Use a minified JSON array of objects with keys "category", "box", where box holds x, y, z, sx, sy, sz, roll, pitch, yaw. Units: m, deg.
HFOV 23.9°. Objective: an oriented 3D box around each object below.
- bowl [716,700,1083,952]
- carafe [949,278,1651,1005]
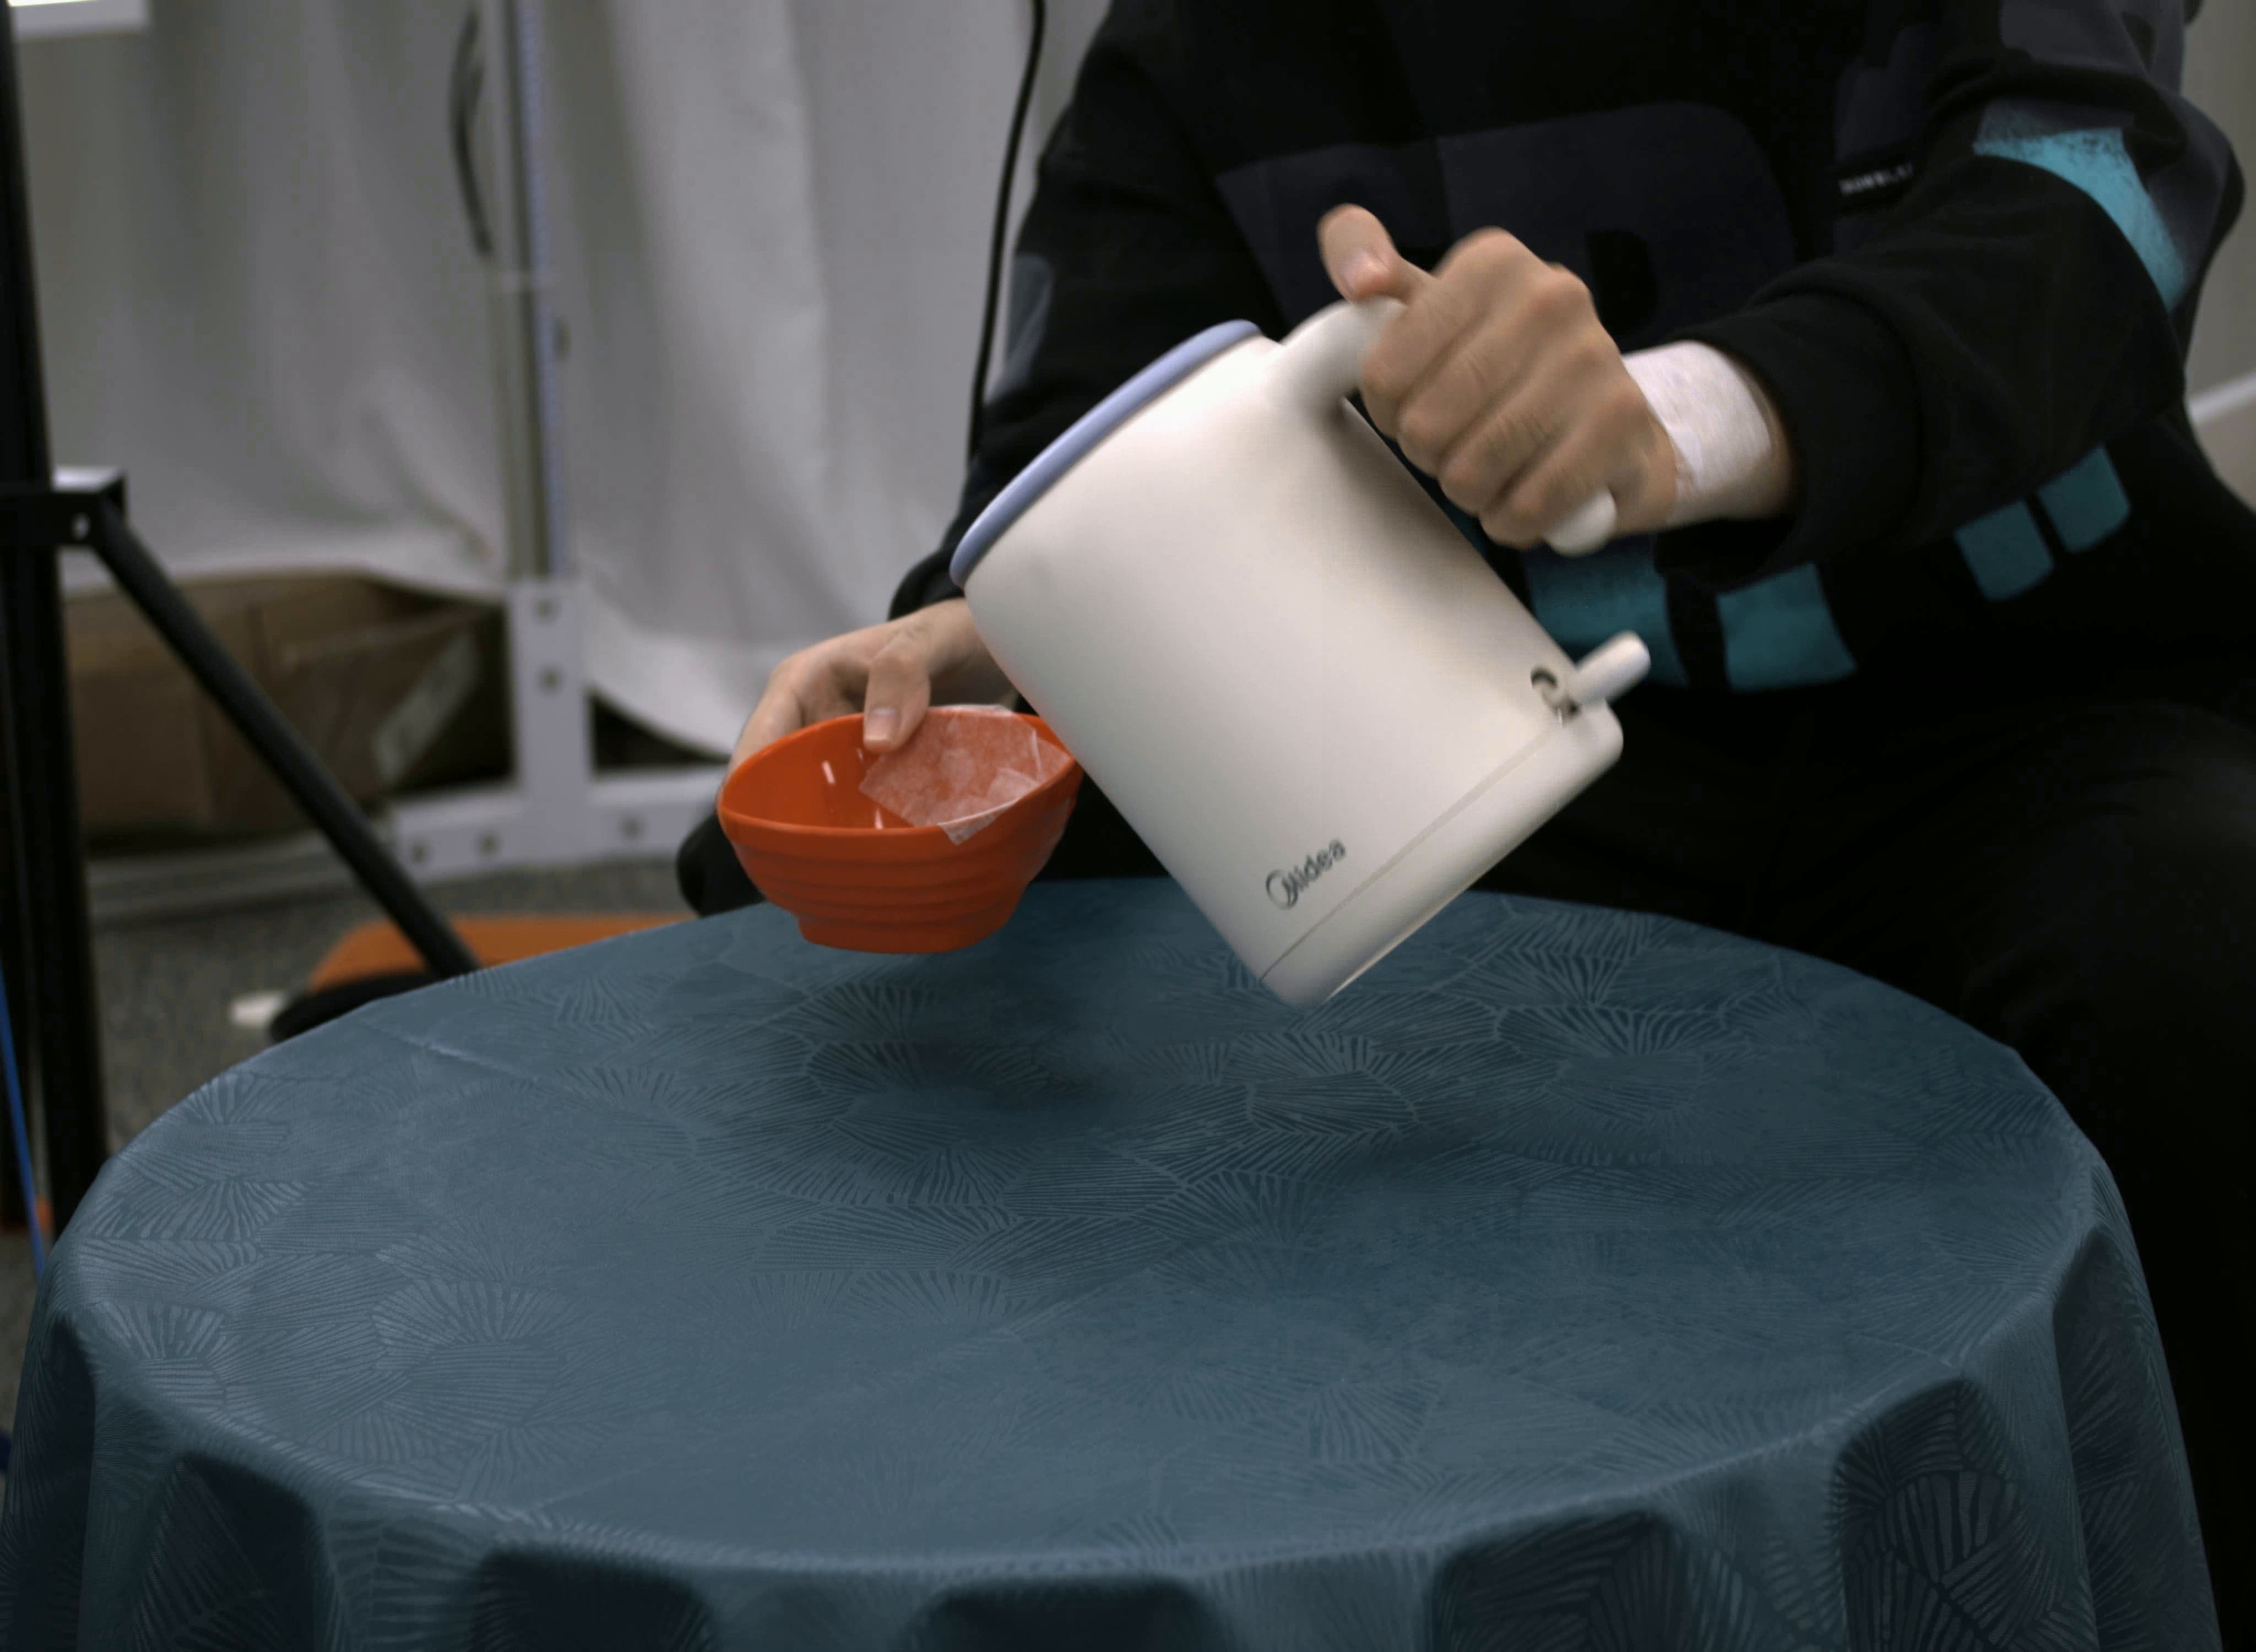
[{"category":"bowl","box":[-0.068,0.003,1.679,0.118,0.051,0.120,-9,21,2]},{"category":"carafe","box":[0.061,-0.064,1.562,0.193,0.183,0.130,-42,-5,33]}]
